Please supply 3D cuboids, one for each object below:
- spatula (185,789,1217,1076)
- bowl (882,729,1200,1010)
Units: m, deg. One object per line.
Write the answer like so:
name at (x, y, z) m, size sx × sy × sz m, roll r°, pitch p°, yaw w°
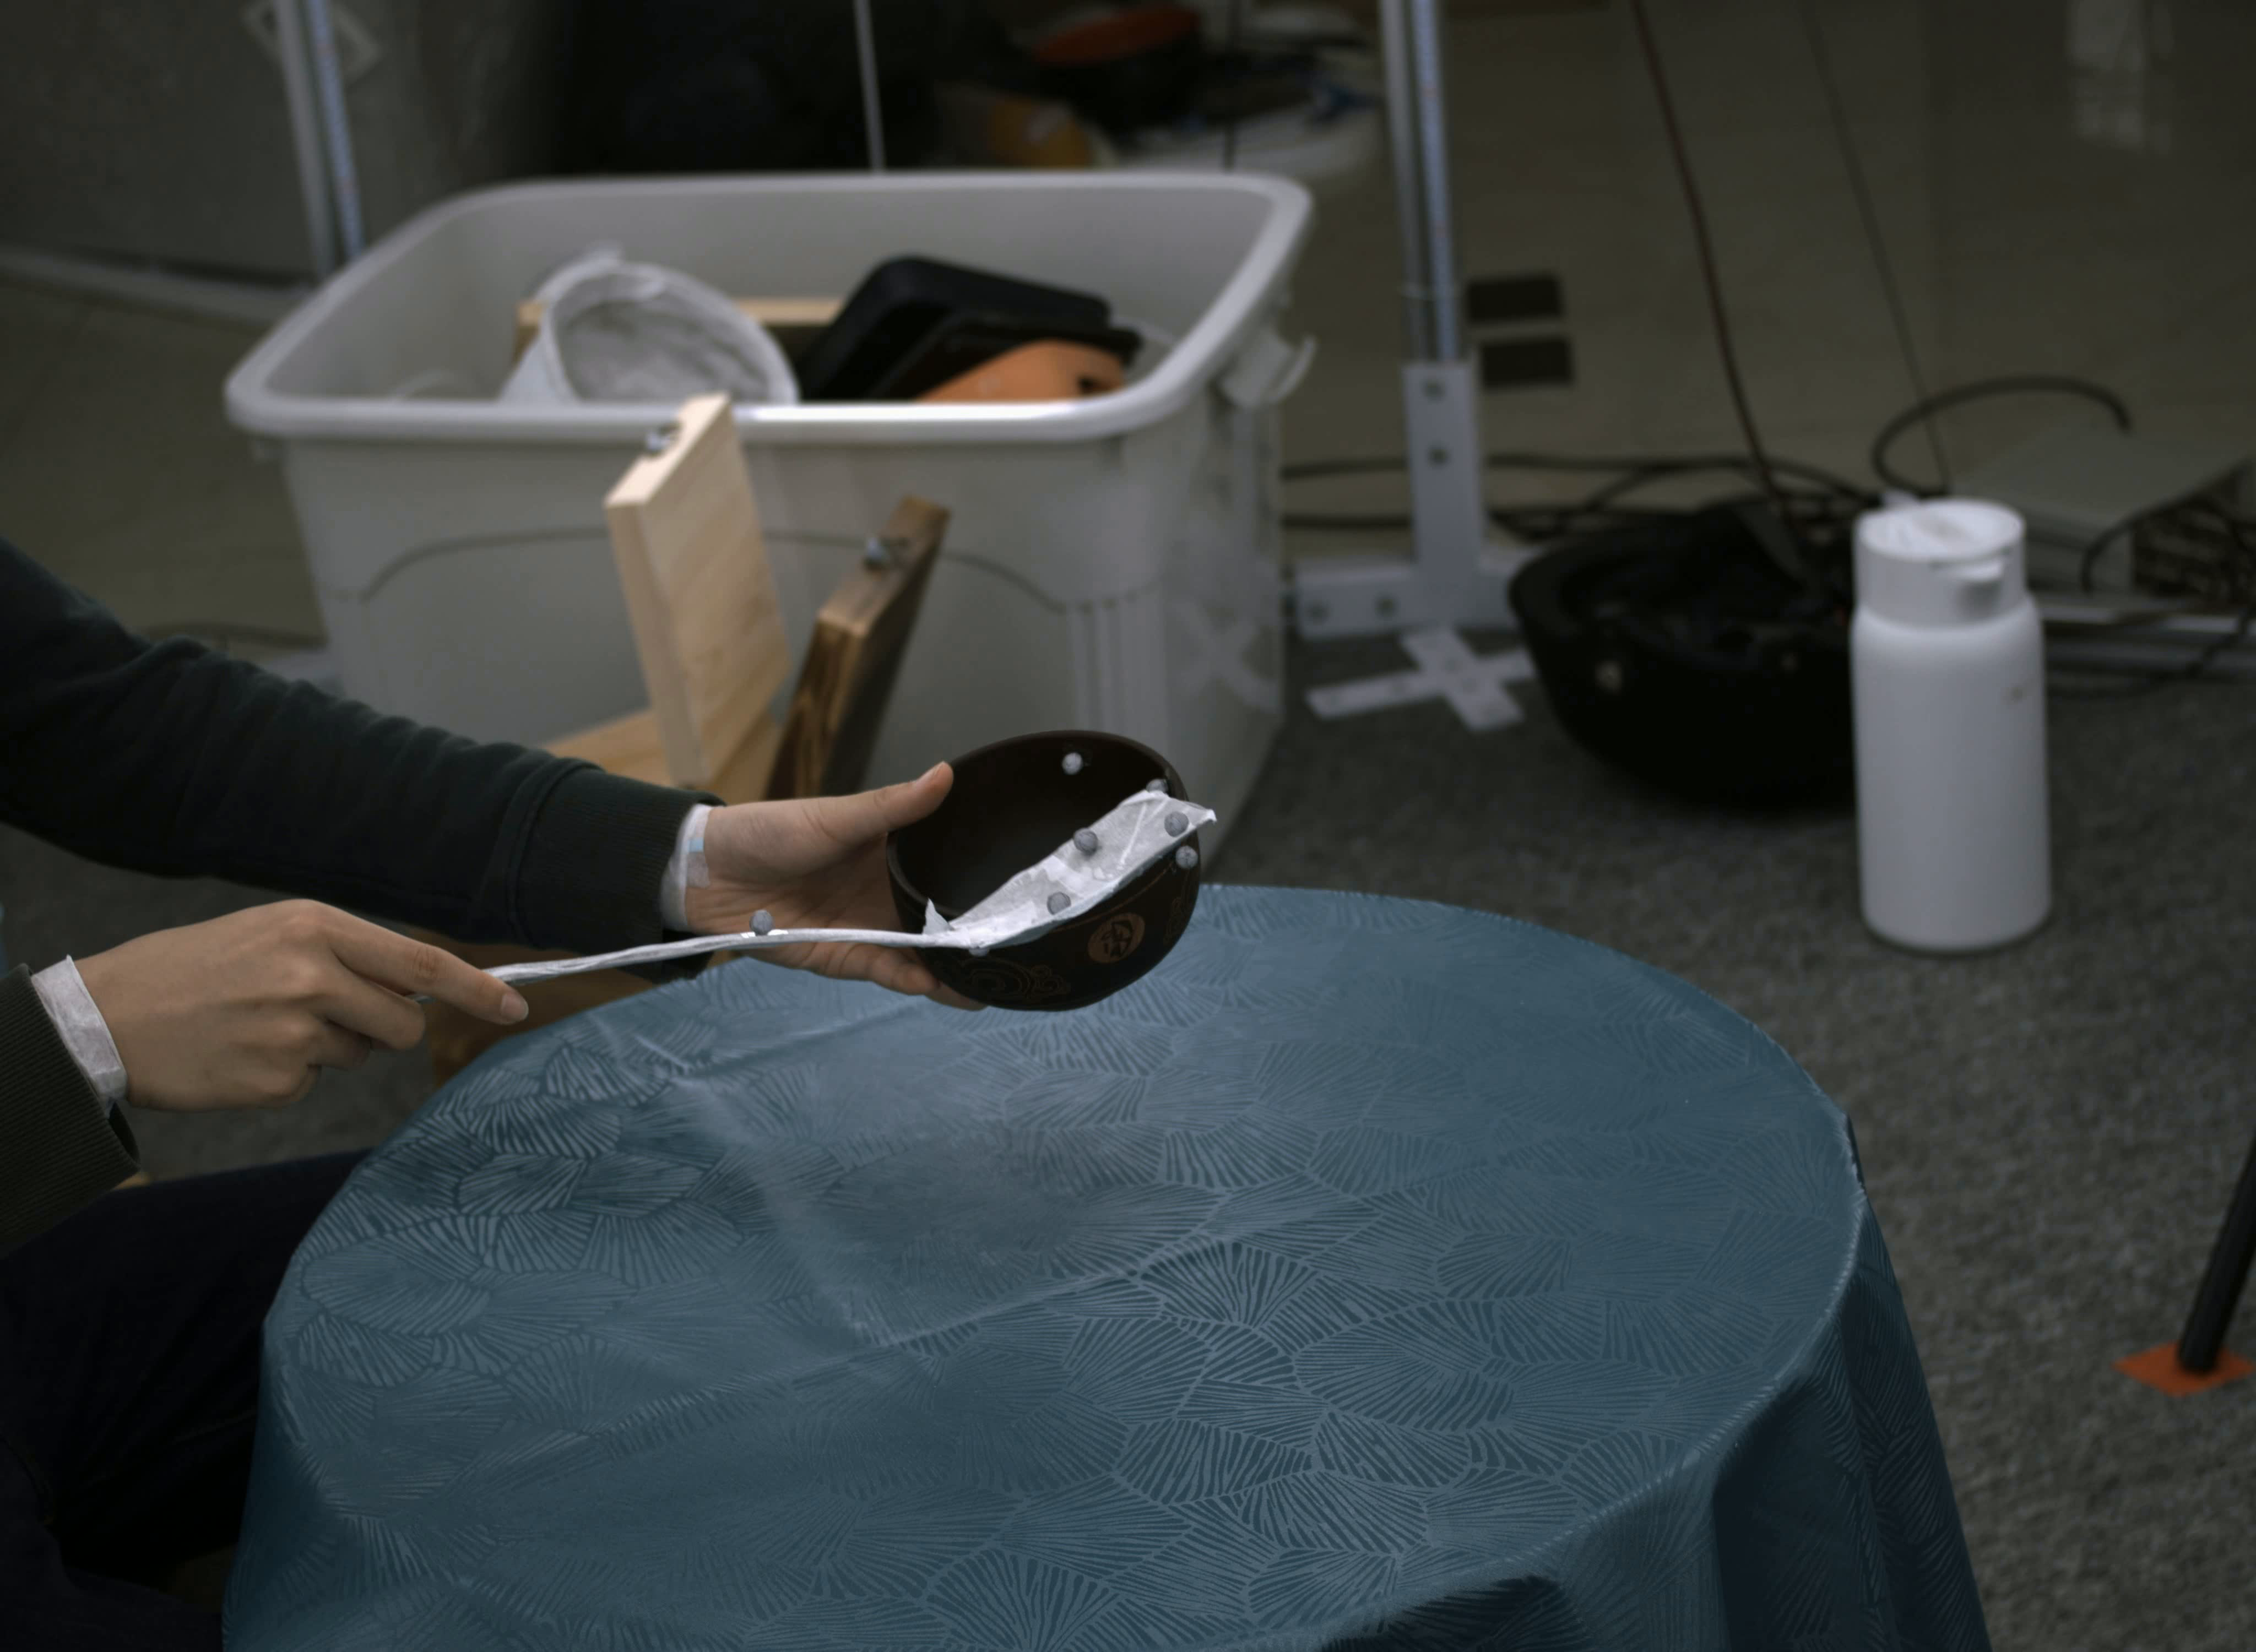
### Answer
spatula at (-0.146, 0.038, 1.951) m, size 0.364 × 0.045 × 0.098 m, roll -8°, pitch 10°, yaw -11°
bowl at (-0.029, 0.025, 2.121) m, size 0.118 × 0.071 × 0.116 m, roll -9°, pitch 36°, yaw 6°
